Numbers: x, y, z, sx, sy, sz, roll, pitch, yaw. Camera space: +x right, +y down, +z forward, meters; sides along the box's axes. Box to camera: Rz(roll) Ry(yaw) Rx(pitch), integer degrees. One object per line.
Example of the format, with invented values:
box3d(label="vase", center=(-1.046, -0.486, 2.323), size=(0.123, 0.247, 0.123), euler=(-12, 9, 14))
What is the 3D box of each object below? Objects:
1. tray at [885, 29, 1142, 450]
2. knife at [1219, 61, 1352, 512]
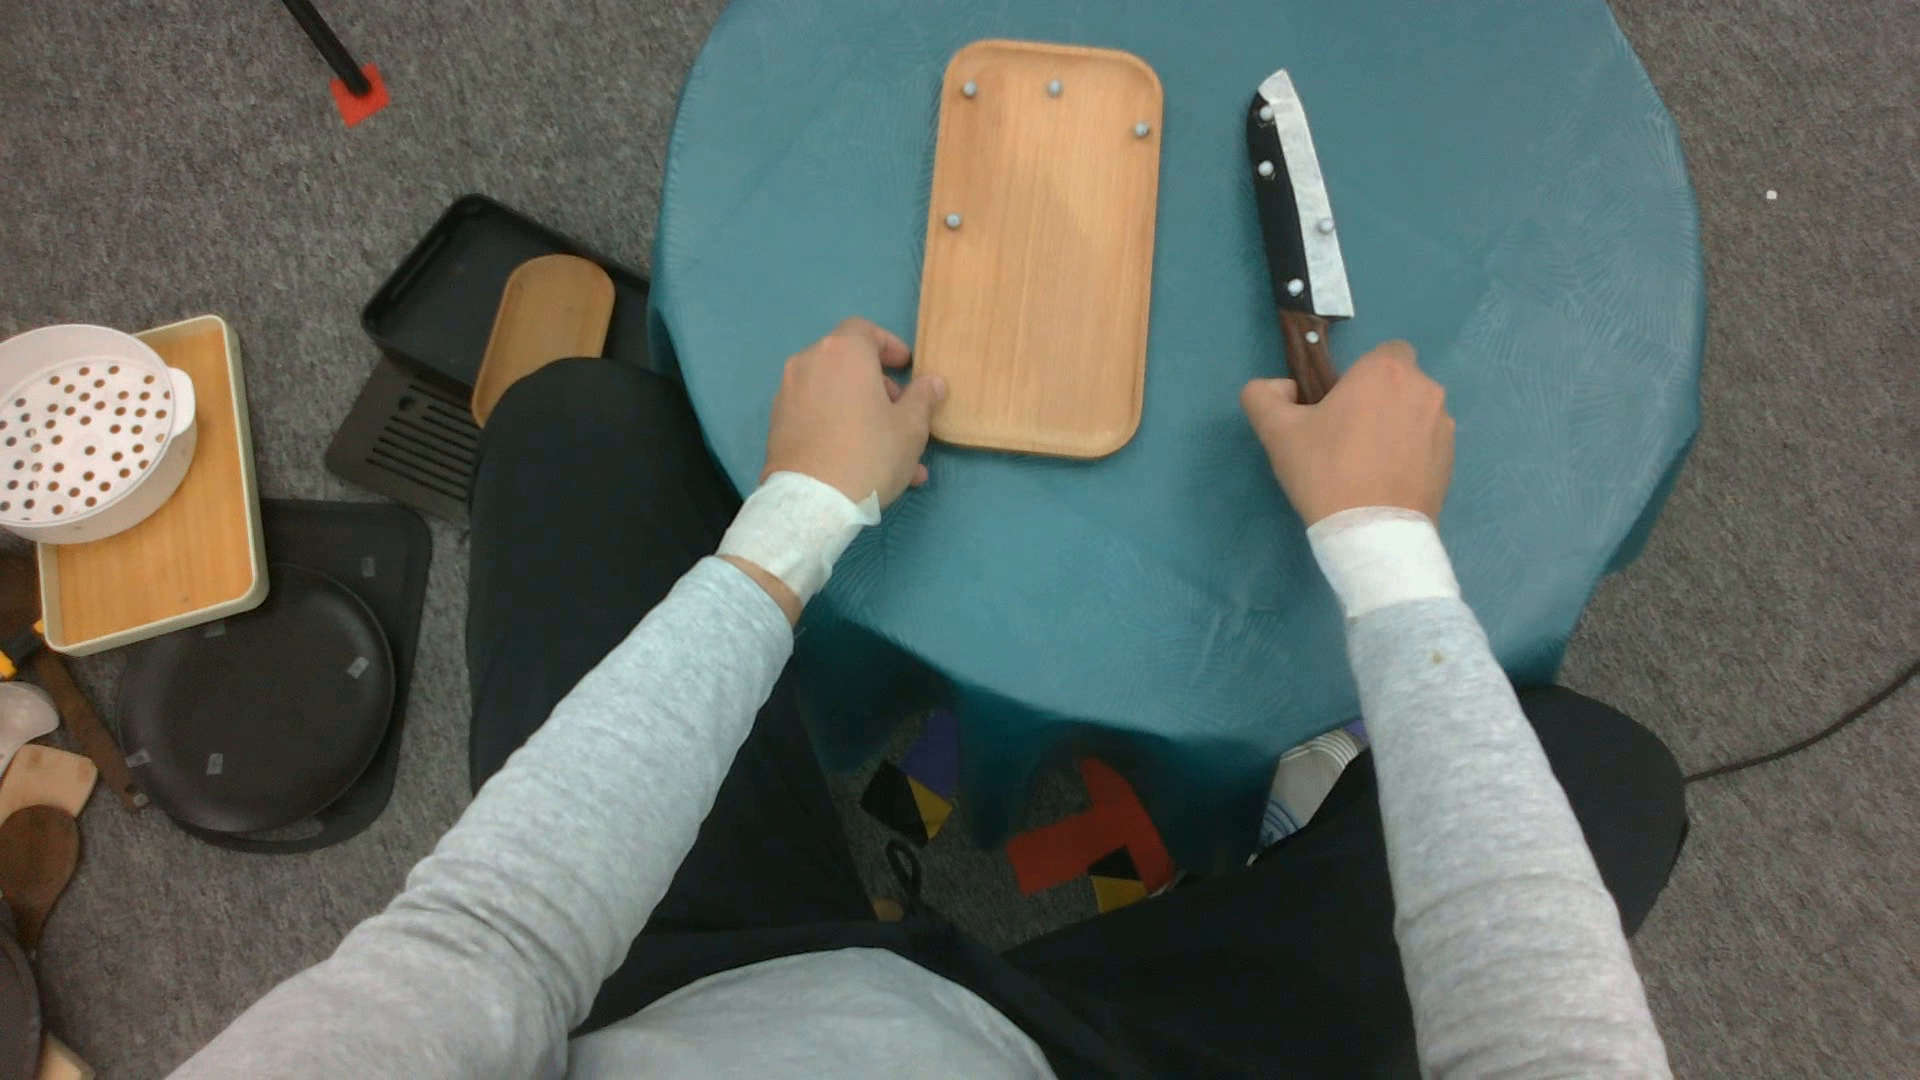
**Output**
box3d(label="tray", center=(0.033, -0.172, 0.775), size=(0.130, 0.023, 0.251), euler=(6, 75, 1))
box3d(label="knife", center=(0.181, -0.150, 0.767), size=(0.050, 0.020, 0.290), euler=(1, 68, -13))
